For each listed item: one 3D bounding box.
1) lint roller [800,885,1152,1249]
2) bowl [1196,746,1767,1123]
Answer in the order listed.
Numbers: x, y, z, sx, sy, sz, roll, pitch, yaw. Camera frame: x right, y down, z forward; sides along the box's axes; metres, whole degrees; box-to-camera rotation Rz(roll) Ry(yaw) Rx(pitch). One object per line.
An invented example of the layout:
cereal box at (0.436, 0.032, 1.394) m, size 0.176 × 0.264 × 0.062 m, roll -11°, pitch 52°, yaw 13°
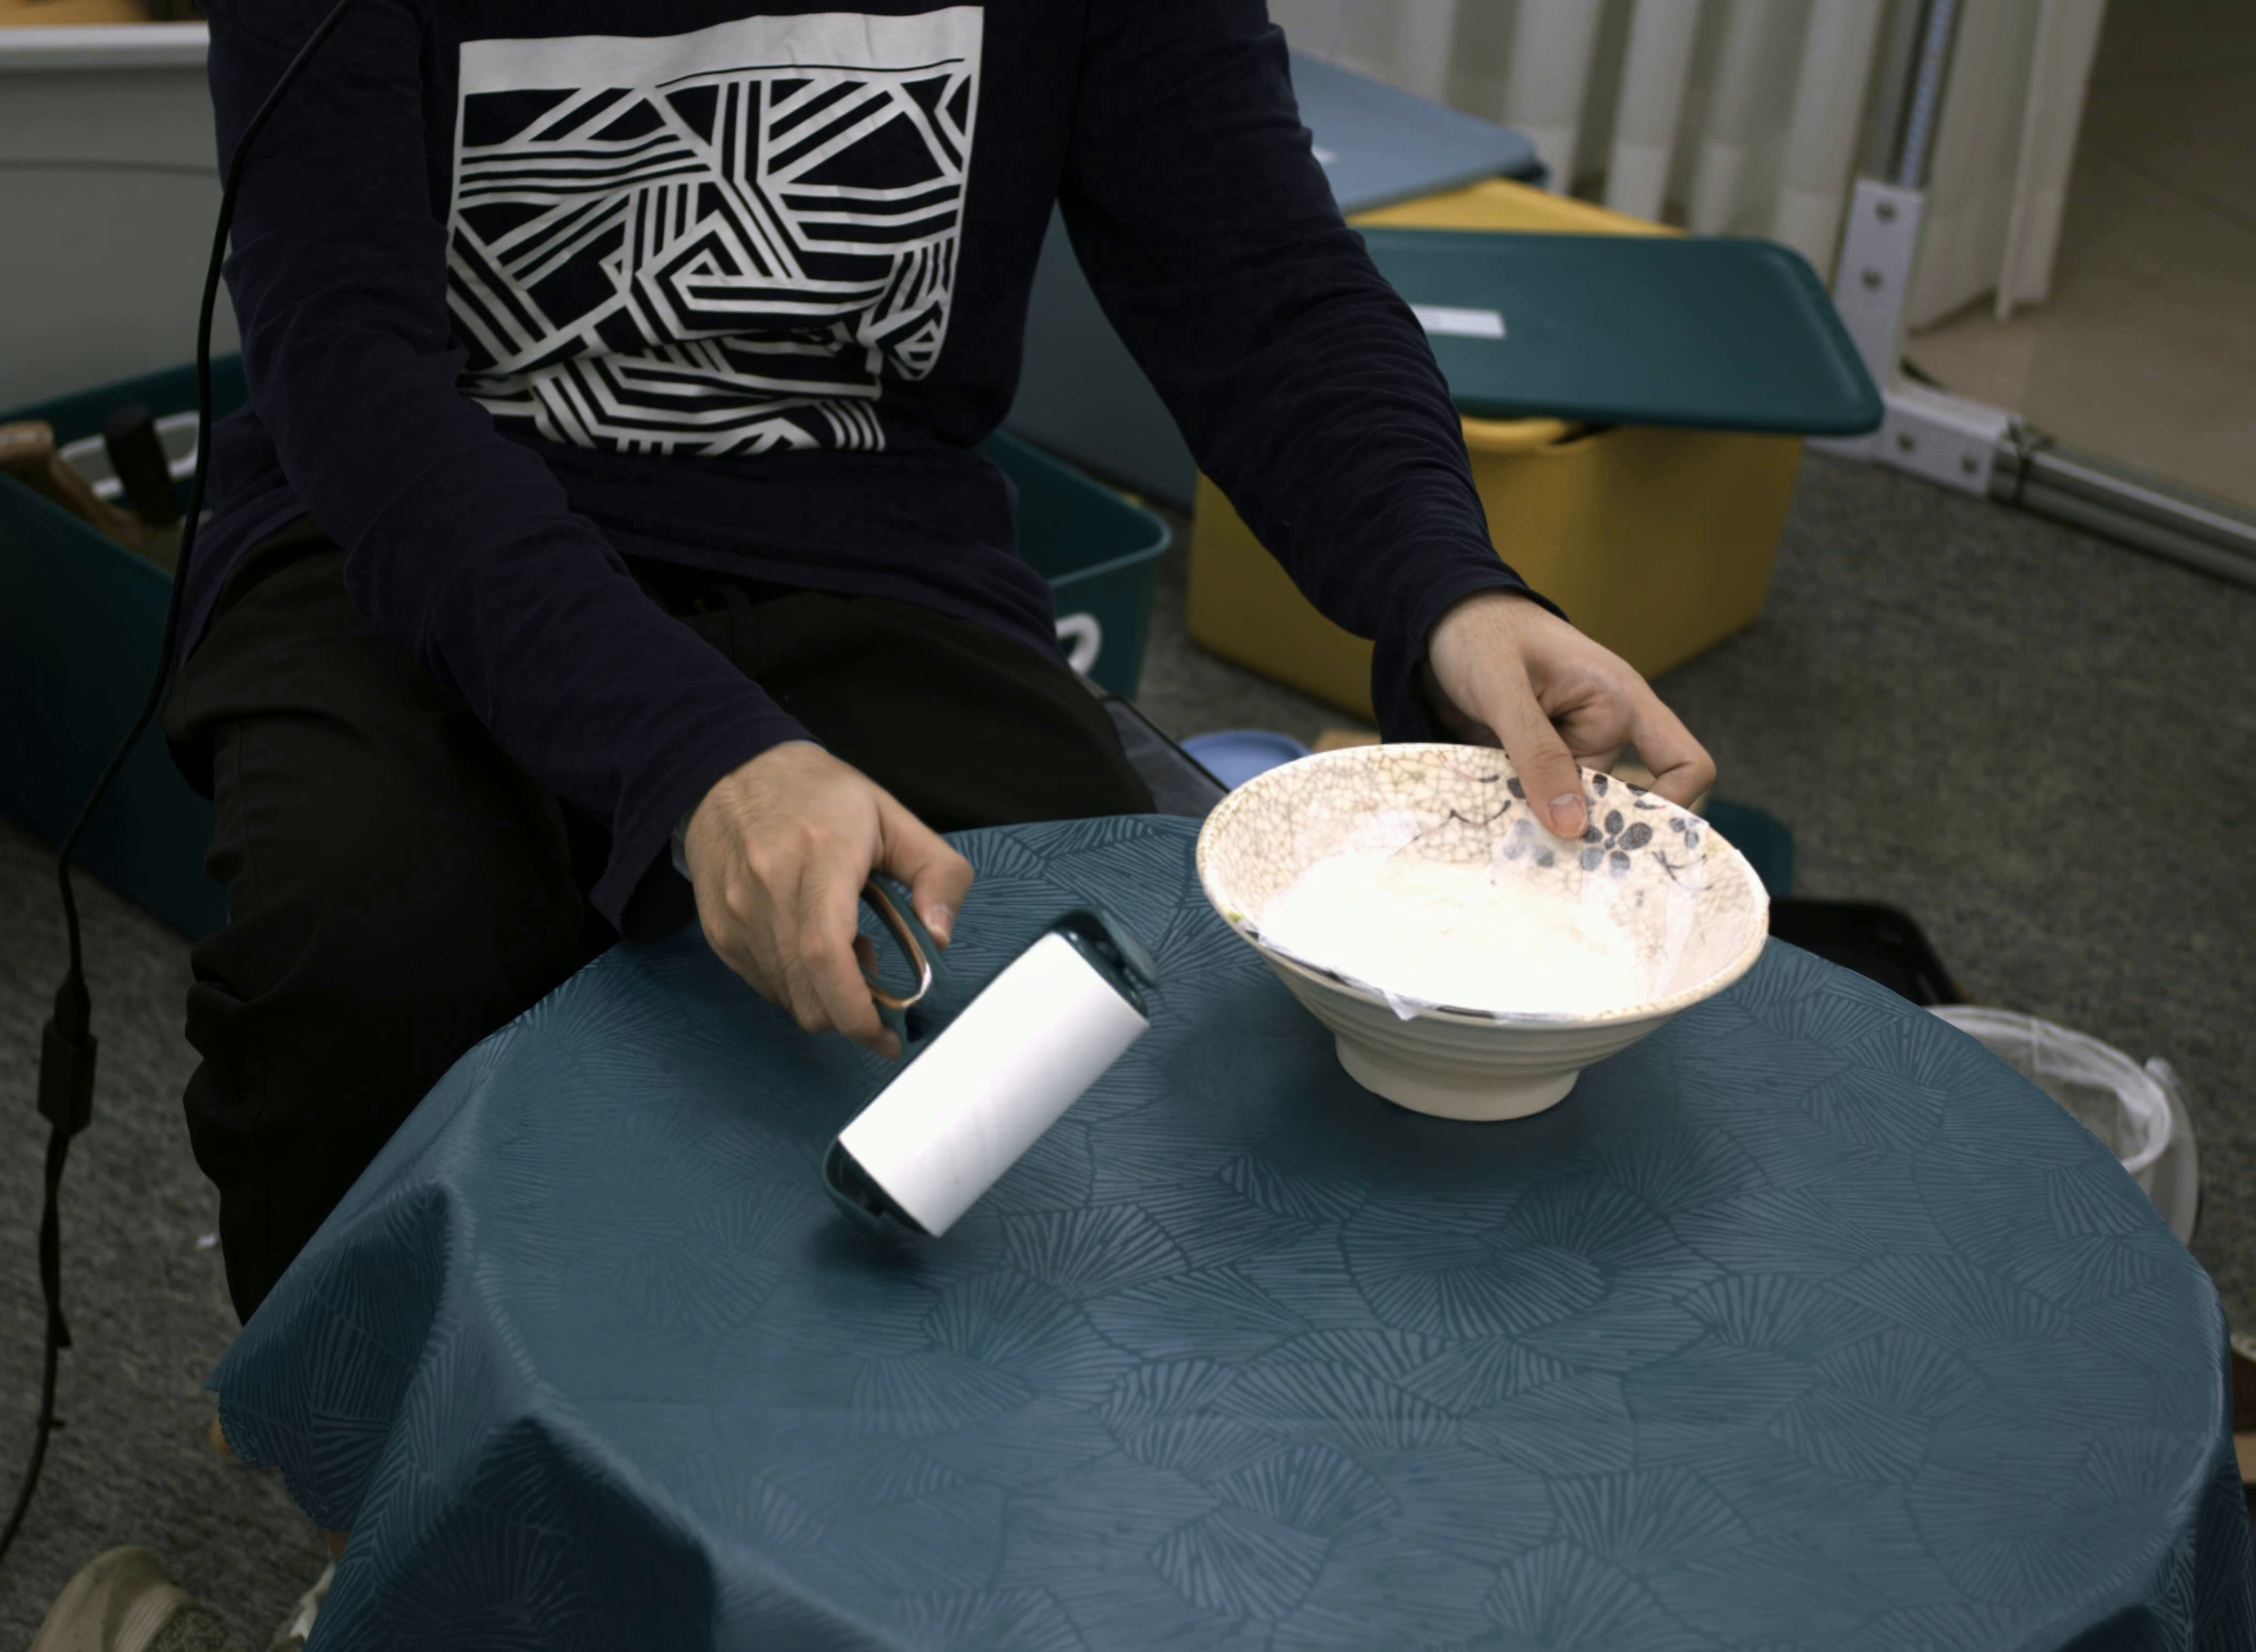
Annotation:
lint roller at (-0.077, 0.055, 1.798) m, size 0.134 × 0.048 × 0.182 m, roll -44°, pitch 40°, yaw -2°
bowl at (0.121, 0.051, 1.889) m, size 0.203 × 0.078 × 0.205 m, roll 5°, pitch 26°, yaw -3°
